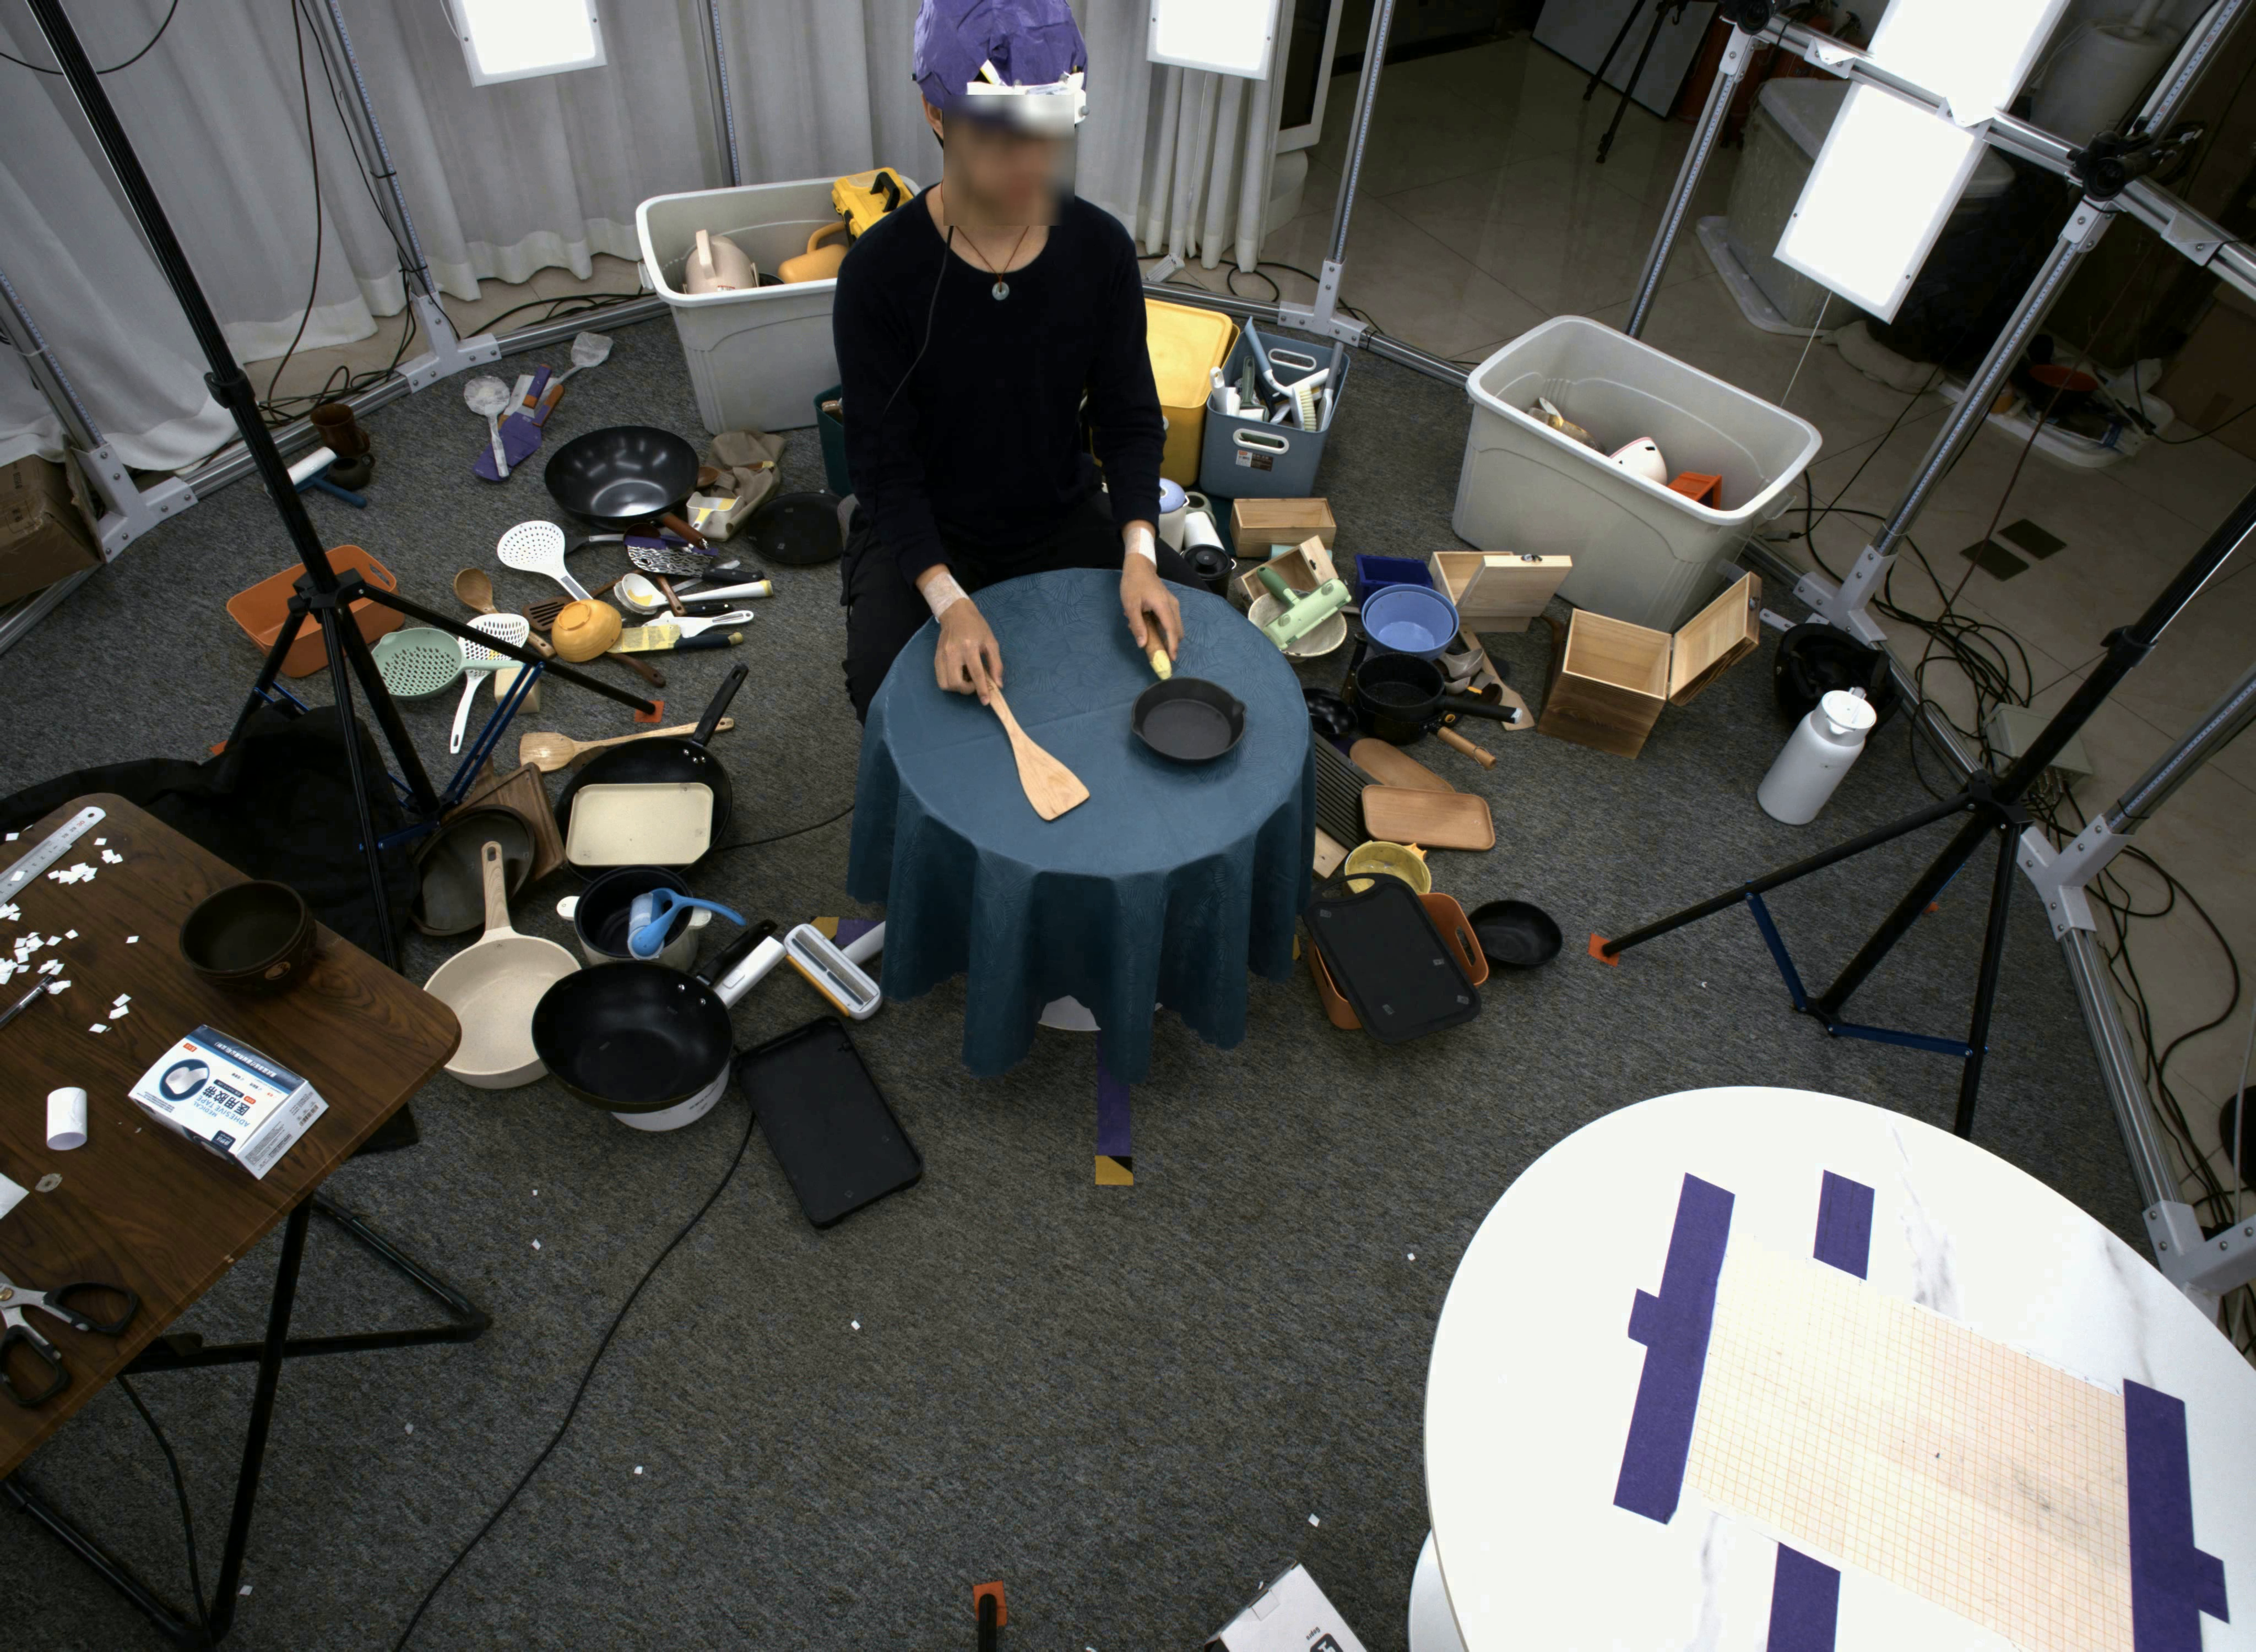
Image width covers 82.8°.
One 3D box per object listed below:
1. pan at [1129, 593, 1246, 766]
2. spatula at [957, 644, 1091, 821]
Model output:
[{"bbox_3d":[0.059,-0.210,1.822,0.169,0.048,0.332,-11,52,-13],"label":"pan"},{"bbox_3d":[-0.154,-0.137,1.757,0.080,0.016,0.334,-21,60,-22],"label":"spatula"}]
